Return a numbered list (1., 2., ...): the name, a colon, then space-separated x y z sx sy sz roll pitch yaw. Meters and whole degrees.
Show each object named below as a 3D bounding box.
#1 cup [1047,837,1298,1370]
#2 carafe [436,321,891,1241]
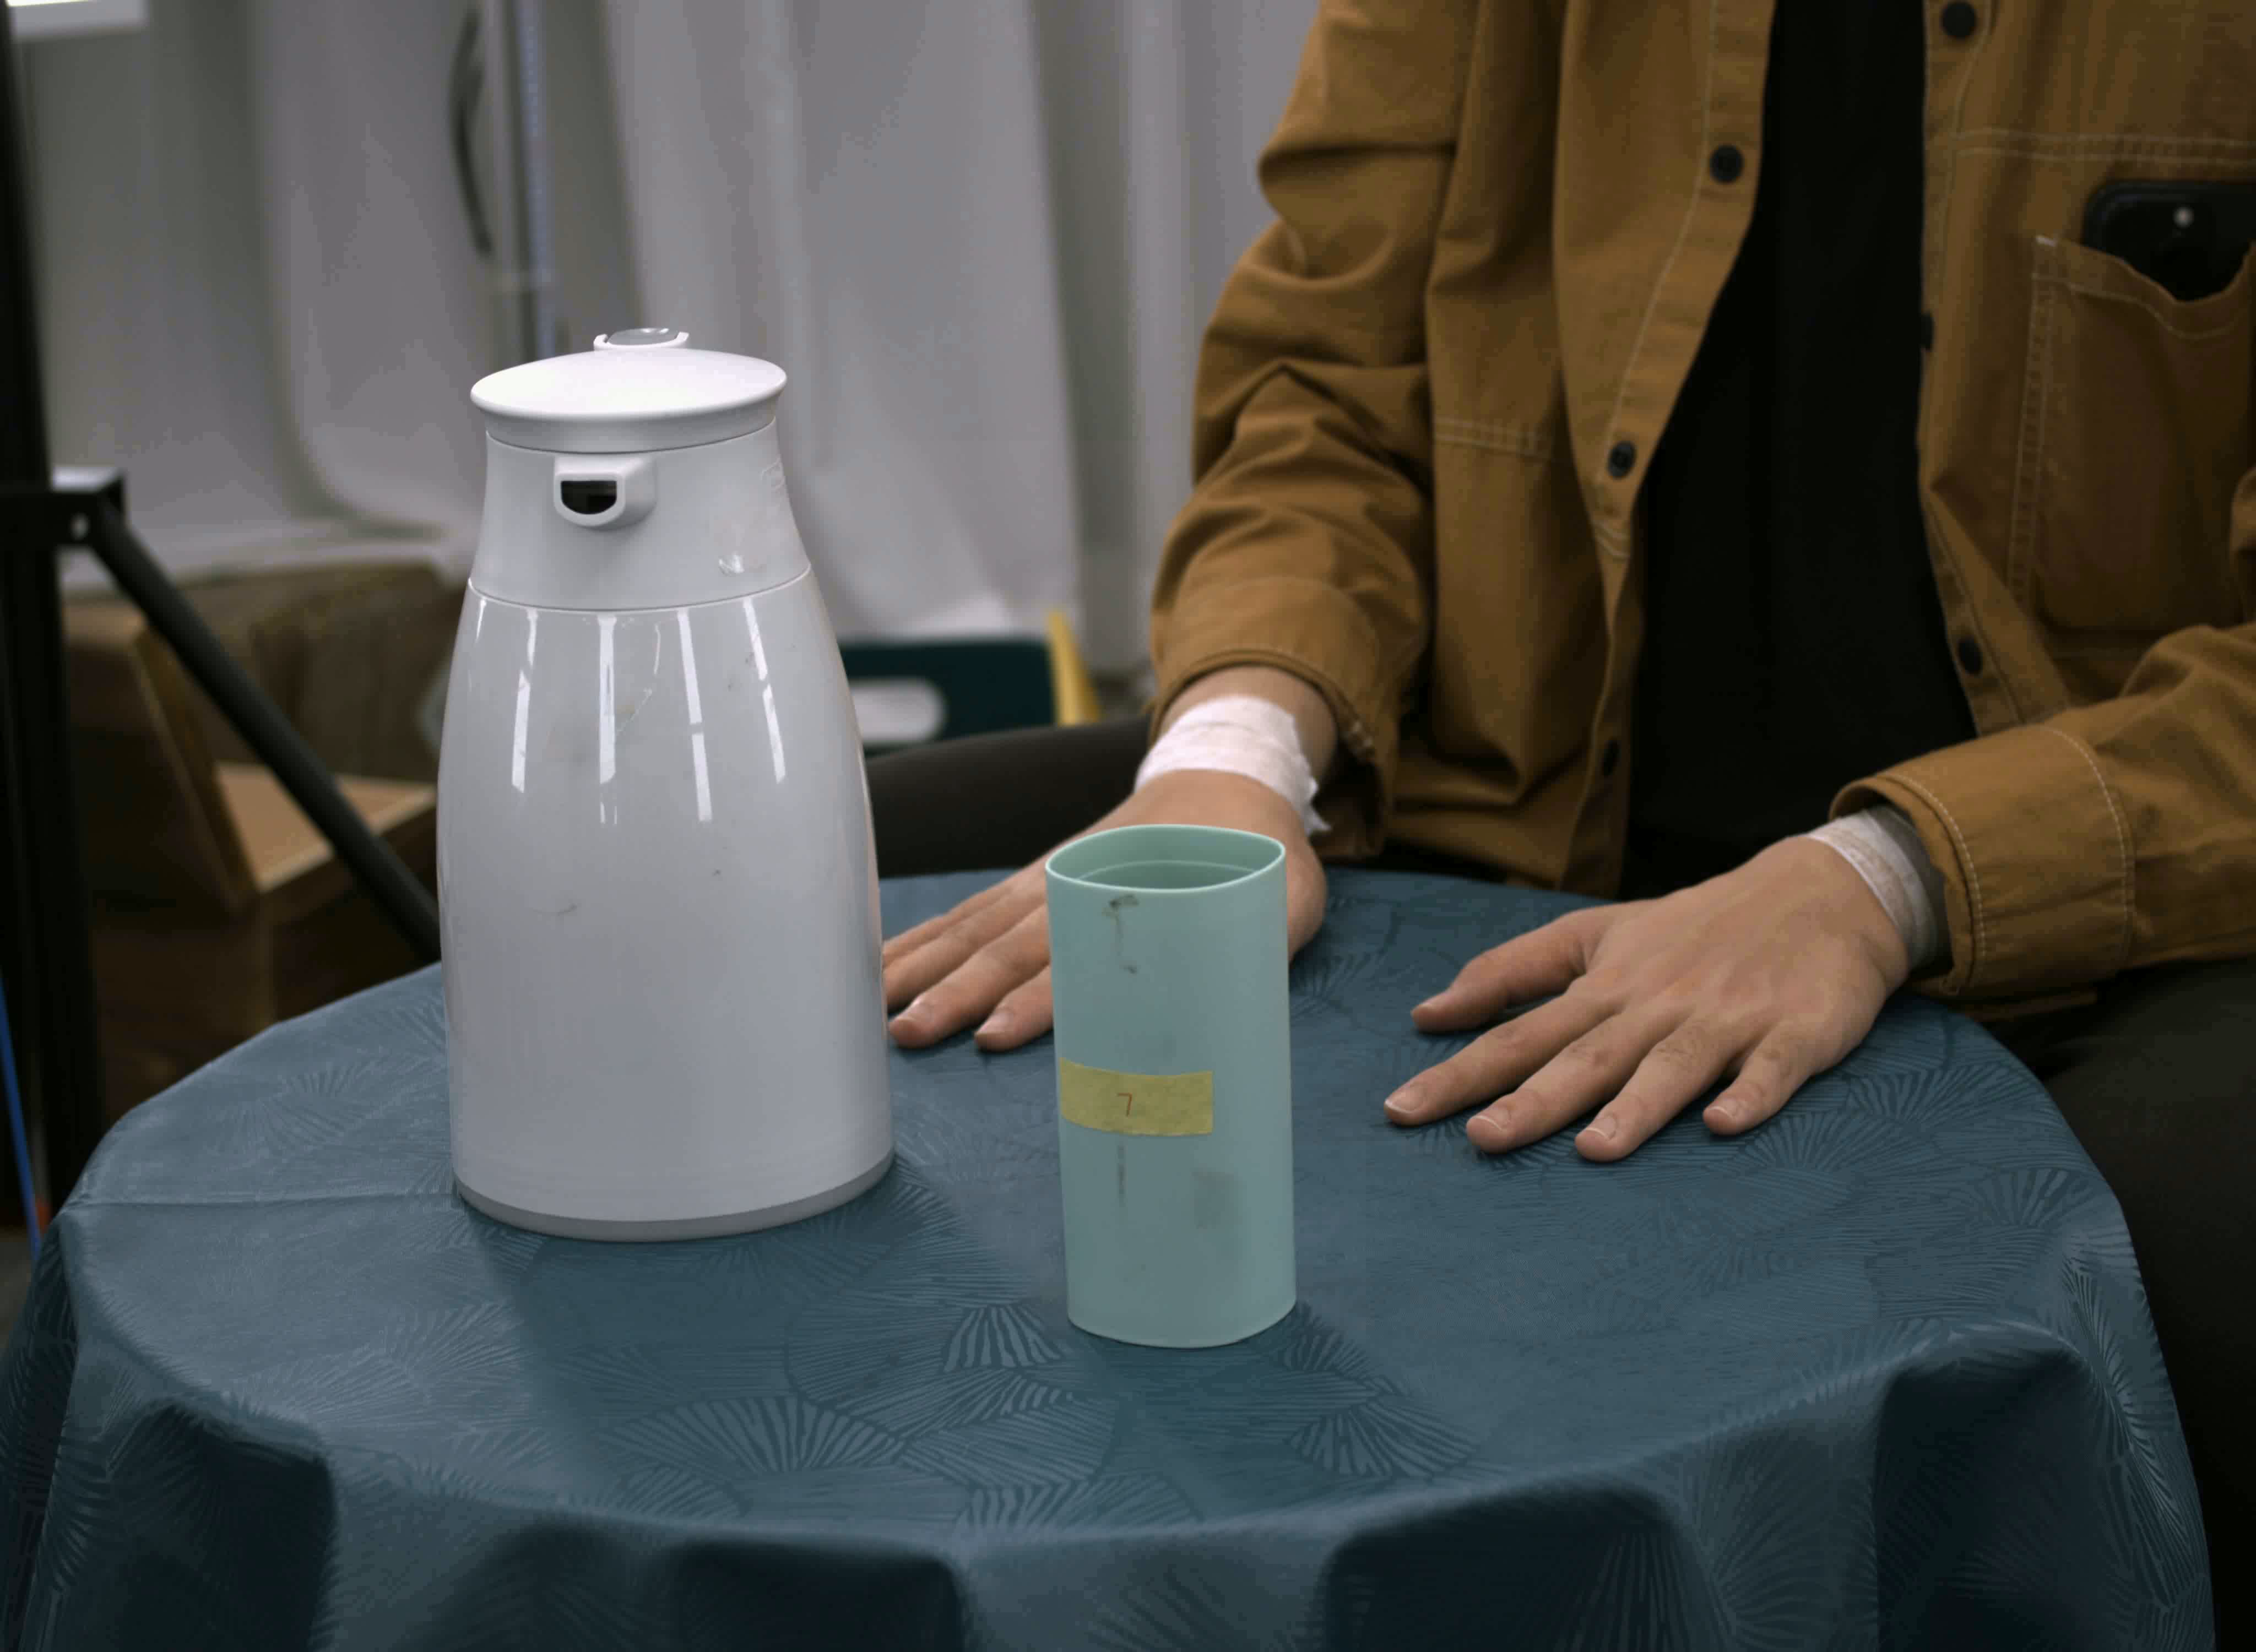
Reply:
1. cup: 0.014 0.074 1.445 0.066 0.132 0.067 -2 15 -1
2. carafe: -0.139 -0.022 1.584 0.132 0.248 0.167 -1 15 6
